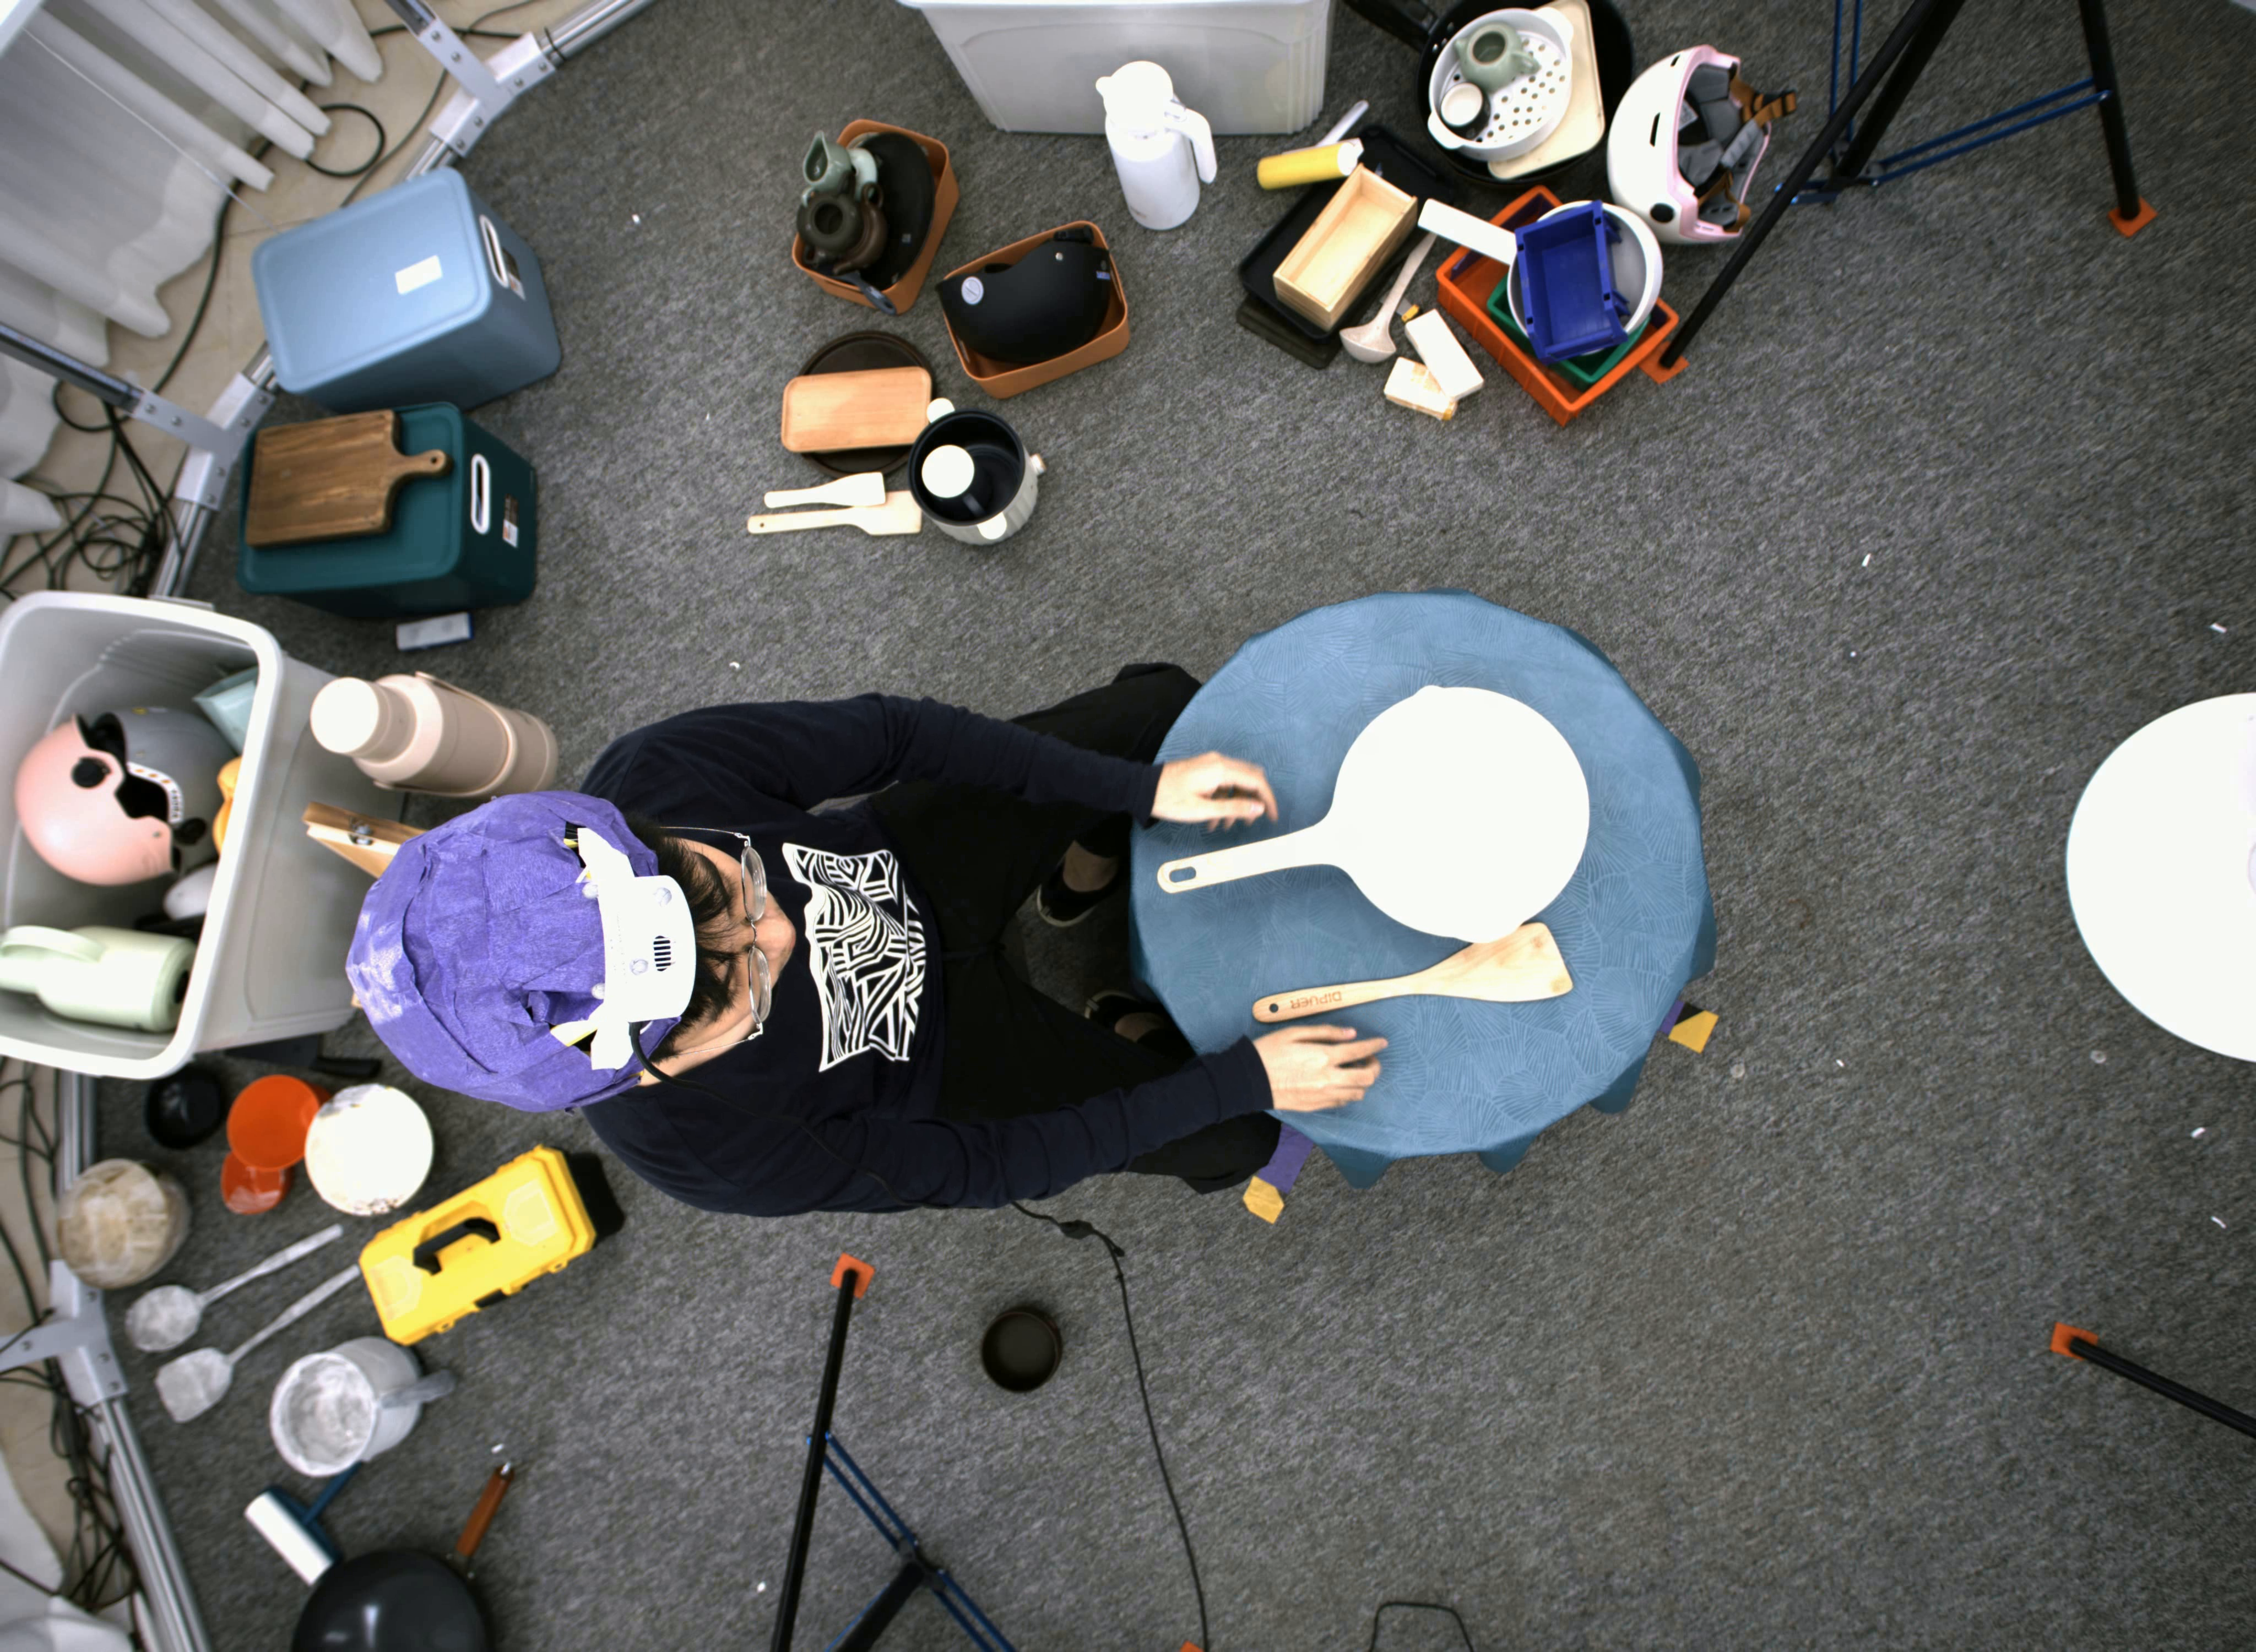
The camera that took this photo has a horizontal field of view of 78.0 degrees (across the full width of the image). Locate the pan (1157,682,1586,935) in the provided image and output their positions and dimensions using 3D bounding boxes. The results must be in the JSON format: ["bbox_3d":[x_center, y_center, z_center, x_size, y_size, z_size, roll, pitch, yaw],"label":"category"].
[{"bbox_3d":[0.245,0.005,1.419,0.437,0.102,0.262,-15,84,10],"label":"pan"}]

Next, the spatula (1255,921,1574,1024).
[{"bbox_3d":[0.293,0.163,1.442,0.329,0.016,0.079,-12,84,9],"label":"spatula"}]
